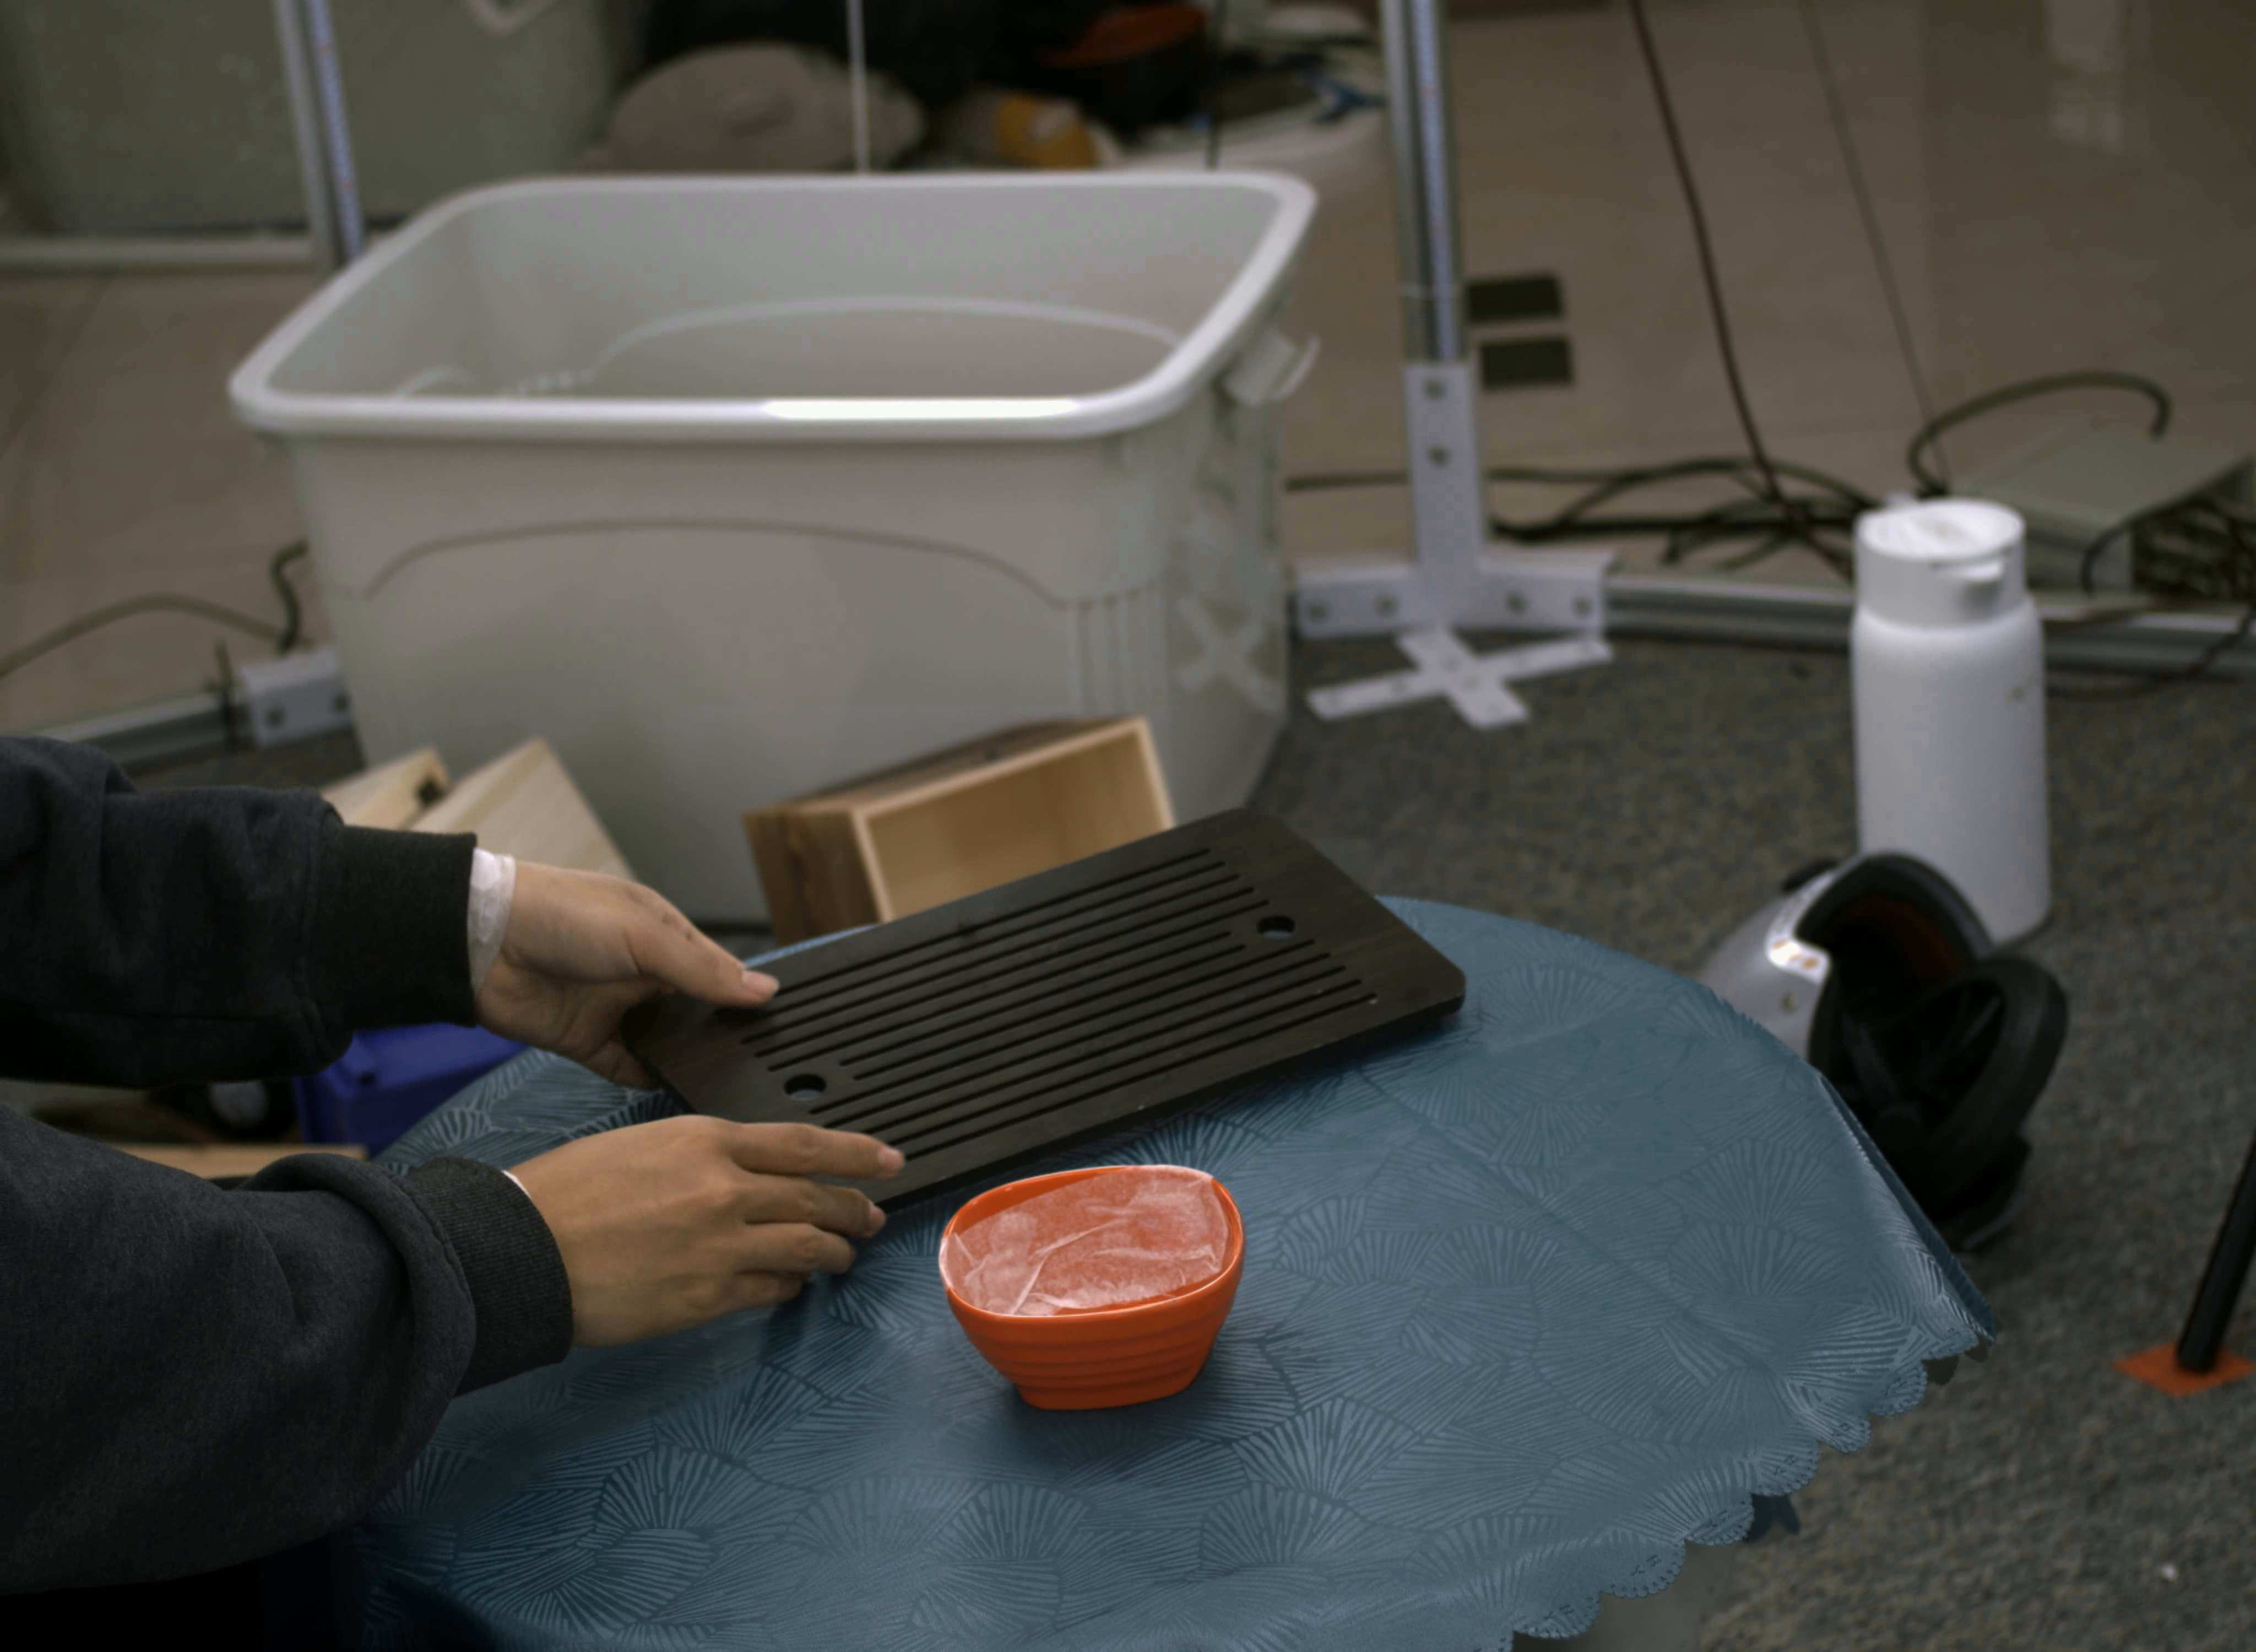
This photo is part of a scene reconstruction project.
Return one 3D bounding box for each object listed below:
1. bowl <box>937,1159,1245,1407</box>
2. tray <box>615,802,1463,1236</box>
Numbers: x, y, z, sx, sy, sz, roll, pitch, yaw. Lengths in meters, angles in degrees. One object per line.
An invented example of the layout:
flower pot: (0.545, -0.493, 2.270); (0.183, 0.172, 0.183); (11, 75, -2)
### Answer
bowl: (-0.011, 0.168, 2.023); (0.119, 0.052, 0.117); (-4, 26, 2)
tray: (-0.034, 0.075, 2.240); (0.304, 0.019, 0.168); (-18, 37, -24)
